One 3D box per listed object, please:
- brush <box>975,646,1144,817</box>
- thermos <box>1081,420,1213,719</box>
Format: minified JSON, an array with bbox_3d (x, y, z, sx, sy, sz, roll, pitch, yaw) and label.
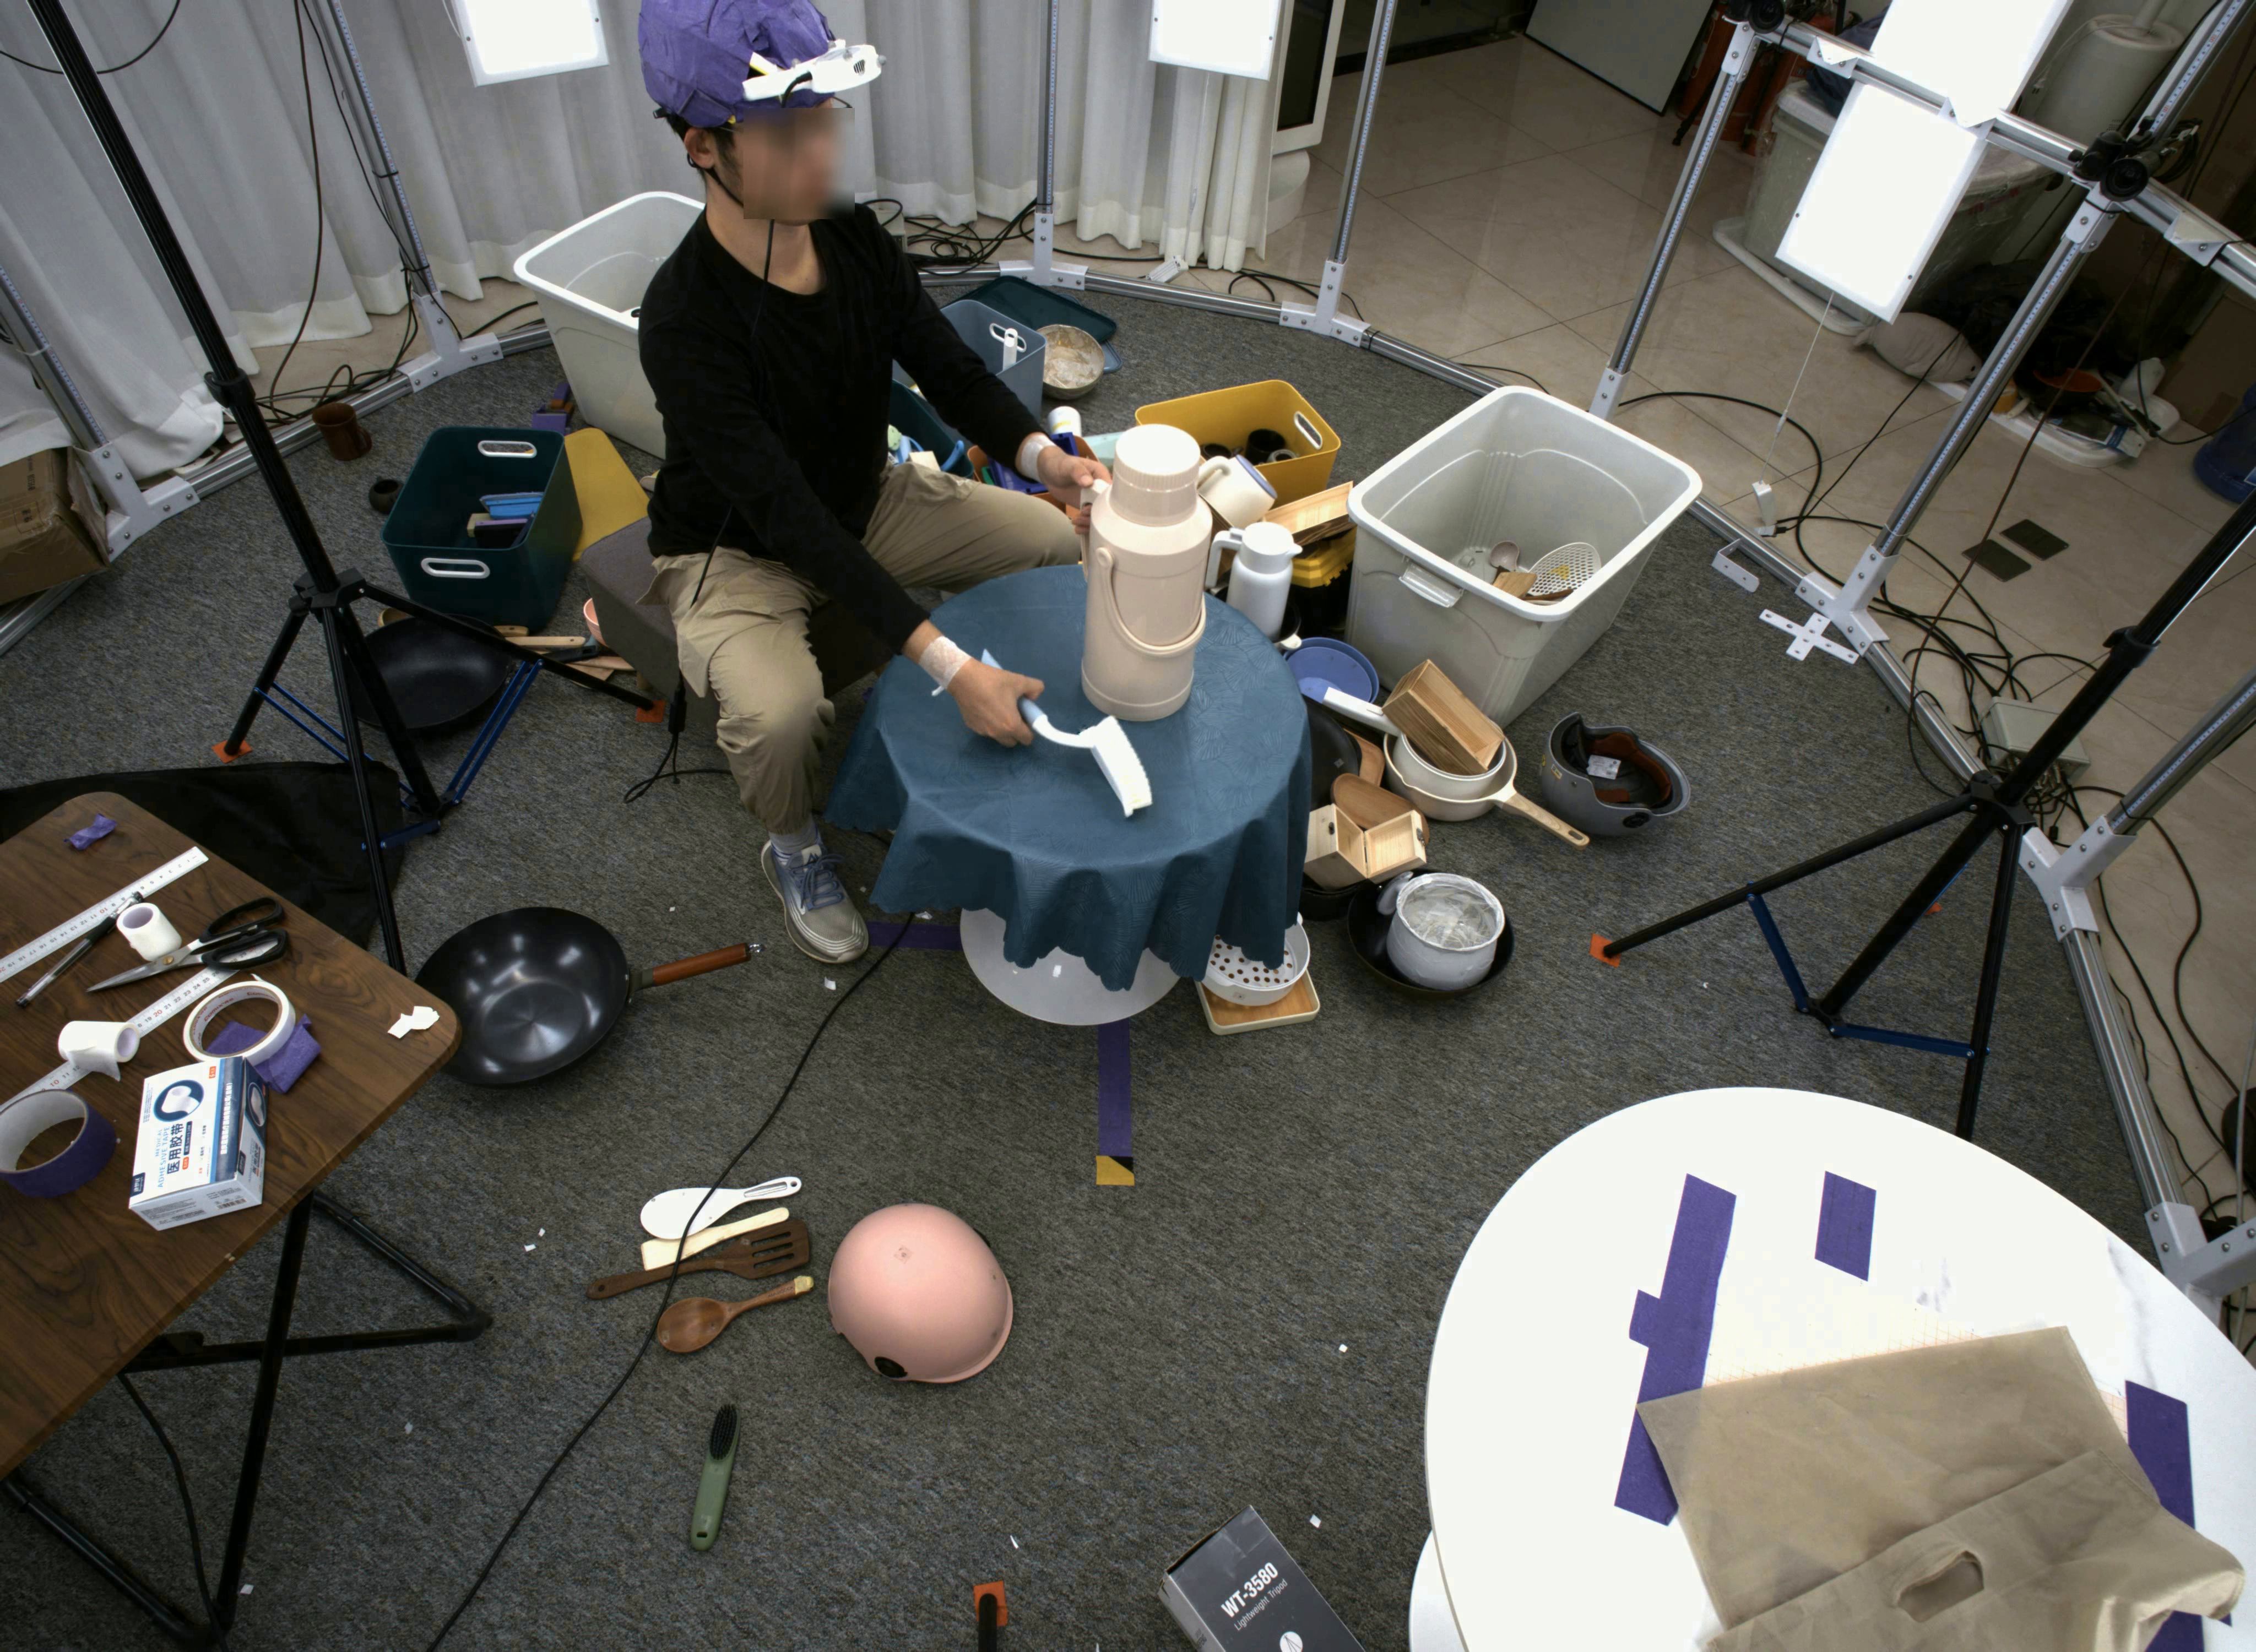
[{"bbox_3d":[-0.080,-0.149,1.718,0.085,0.081,0.330,-22,62,-43],"label":"brush"},{"bbox_3d":[0.016,-0.343,1.713,0.210,0.396,0.177,38,58,25],"label":"thermos"}]
